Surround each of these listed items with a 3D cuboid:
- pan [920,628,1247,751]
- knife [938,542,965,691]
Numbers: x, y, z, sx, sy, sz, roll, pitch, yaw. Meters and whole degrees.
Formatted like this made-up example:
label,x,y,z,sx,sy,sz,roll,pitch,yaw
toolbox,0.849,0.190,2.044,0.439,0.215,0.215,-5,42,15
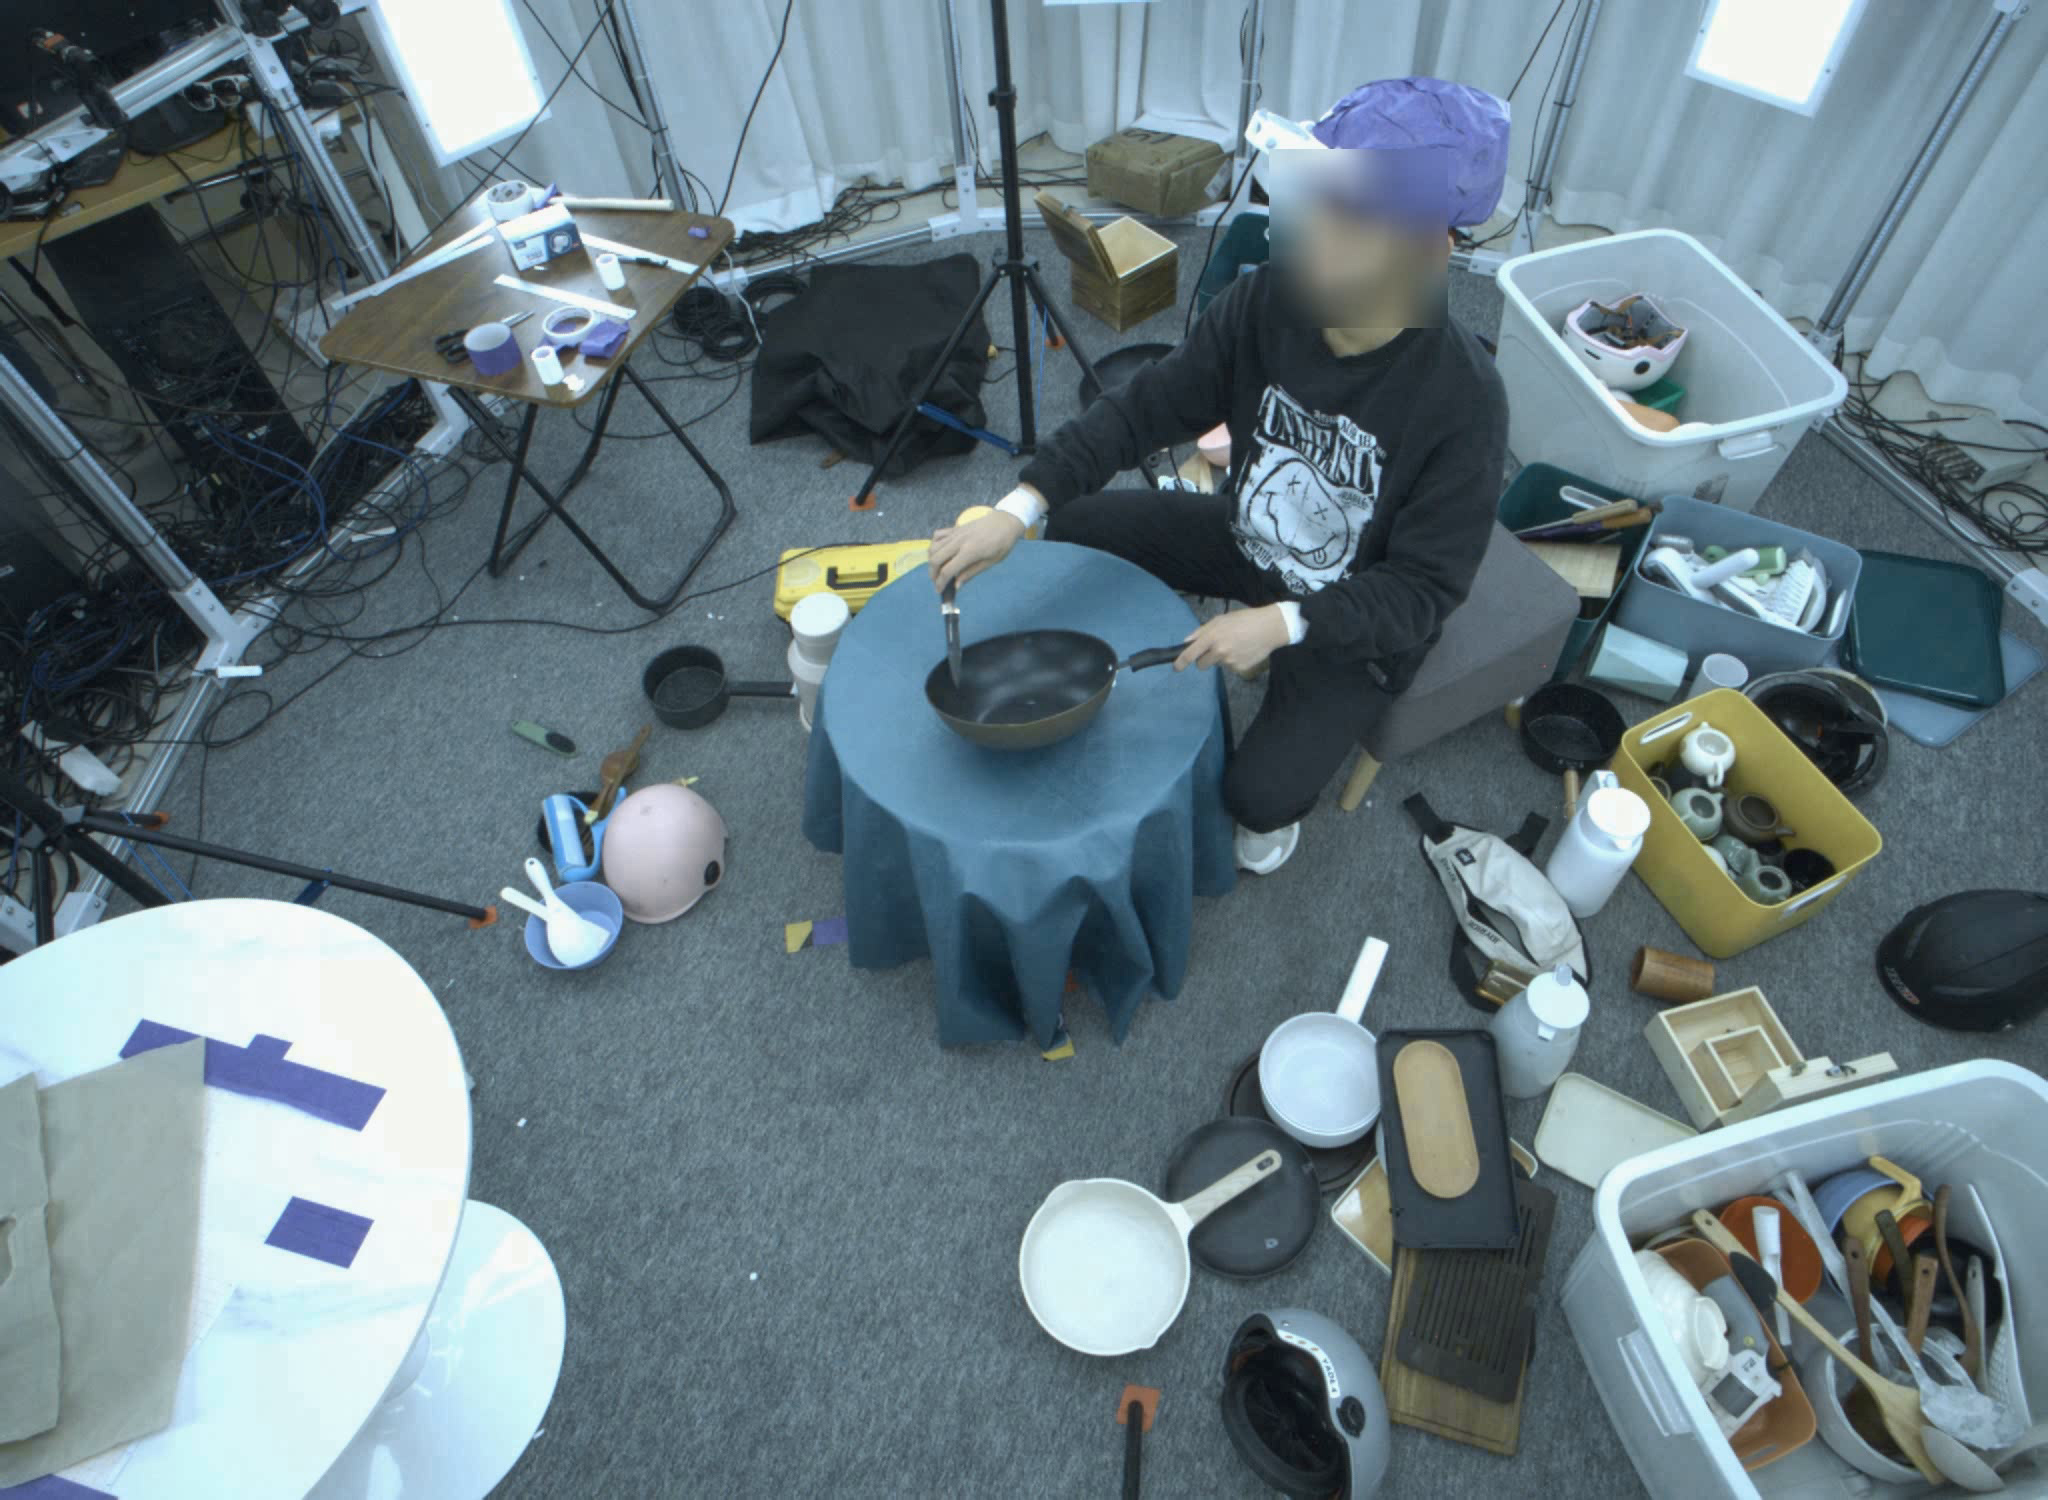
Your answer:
label,x,y,z,sx,sy,sz,roll,pitch,yaw
pan,0.087,-0.090,1.757,0.463,0.088,0.284,-7,32,0
knife,-0.108,-0.198,1.814,0.026,0.017,0.225,-5,87,-22
